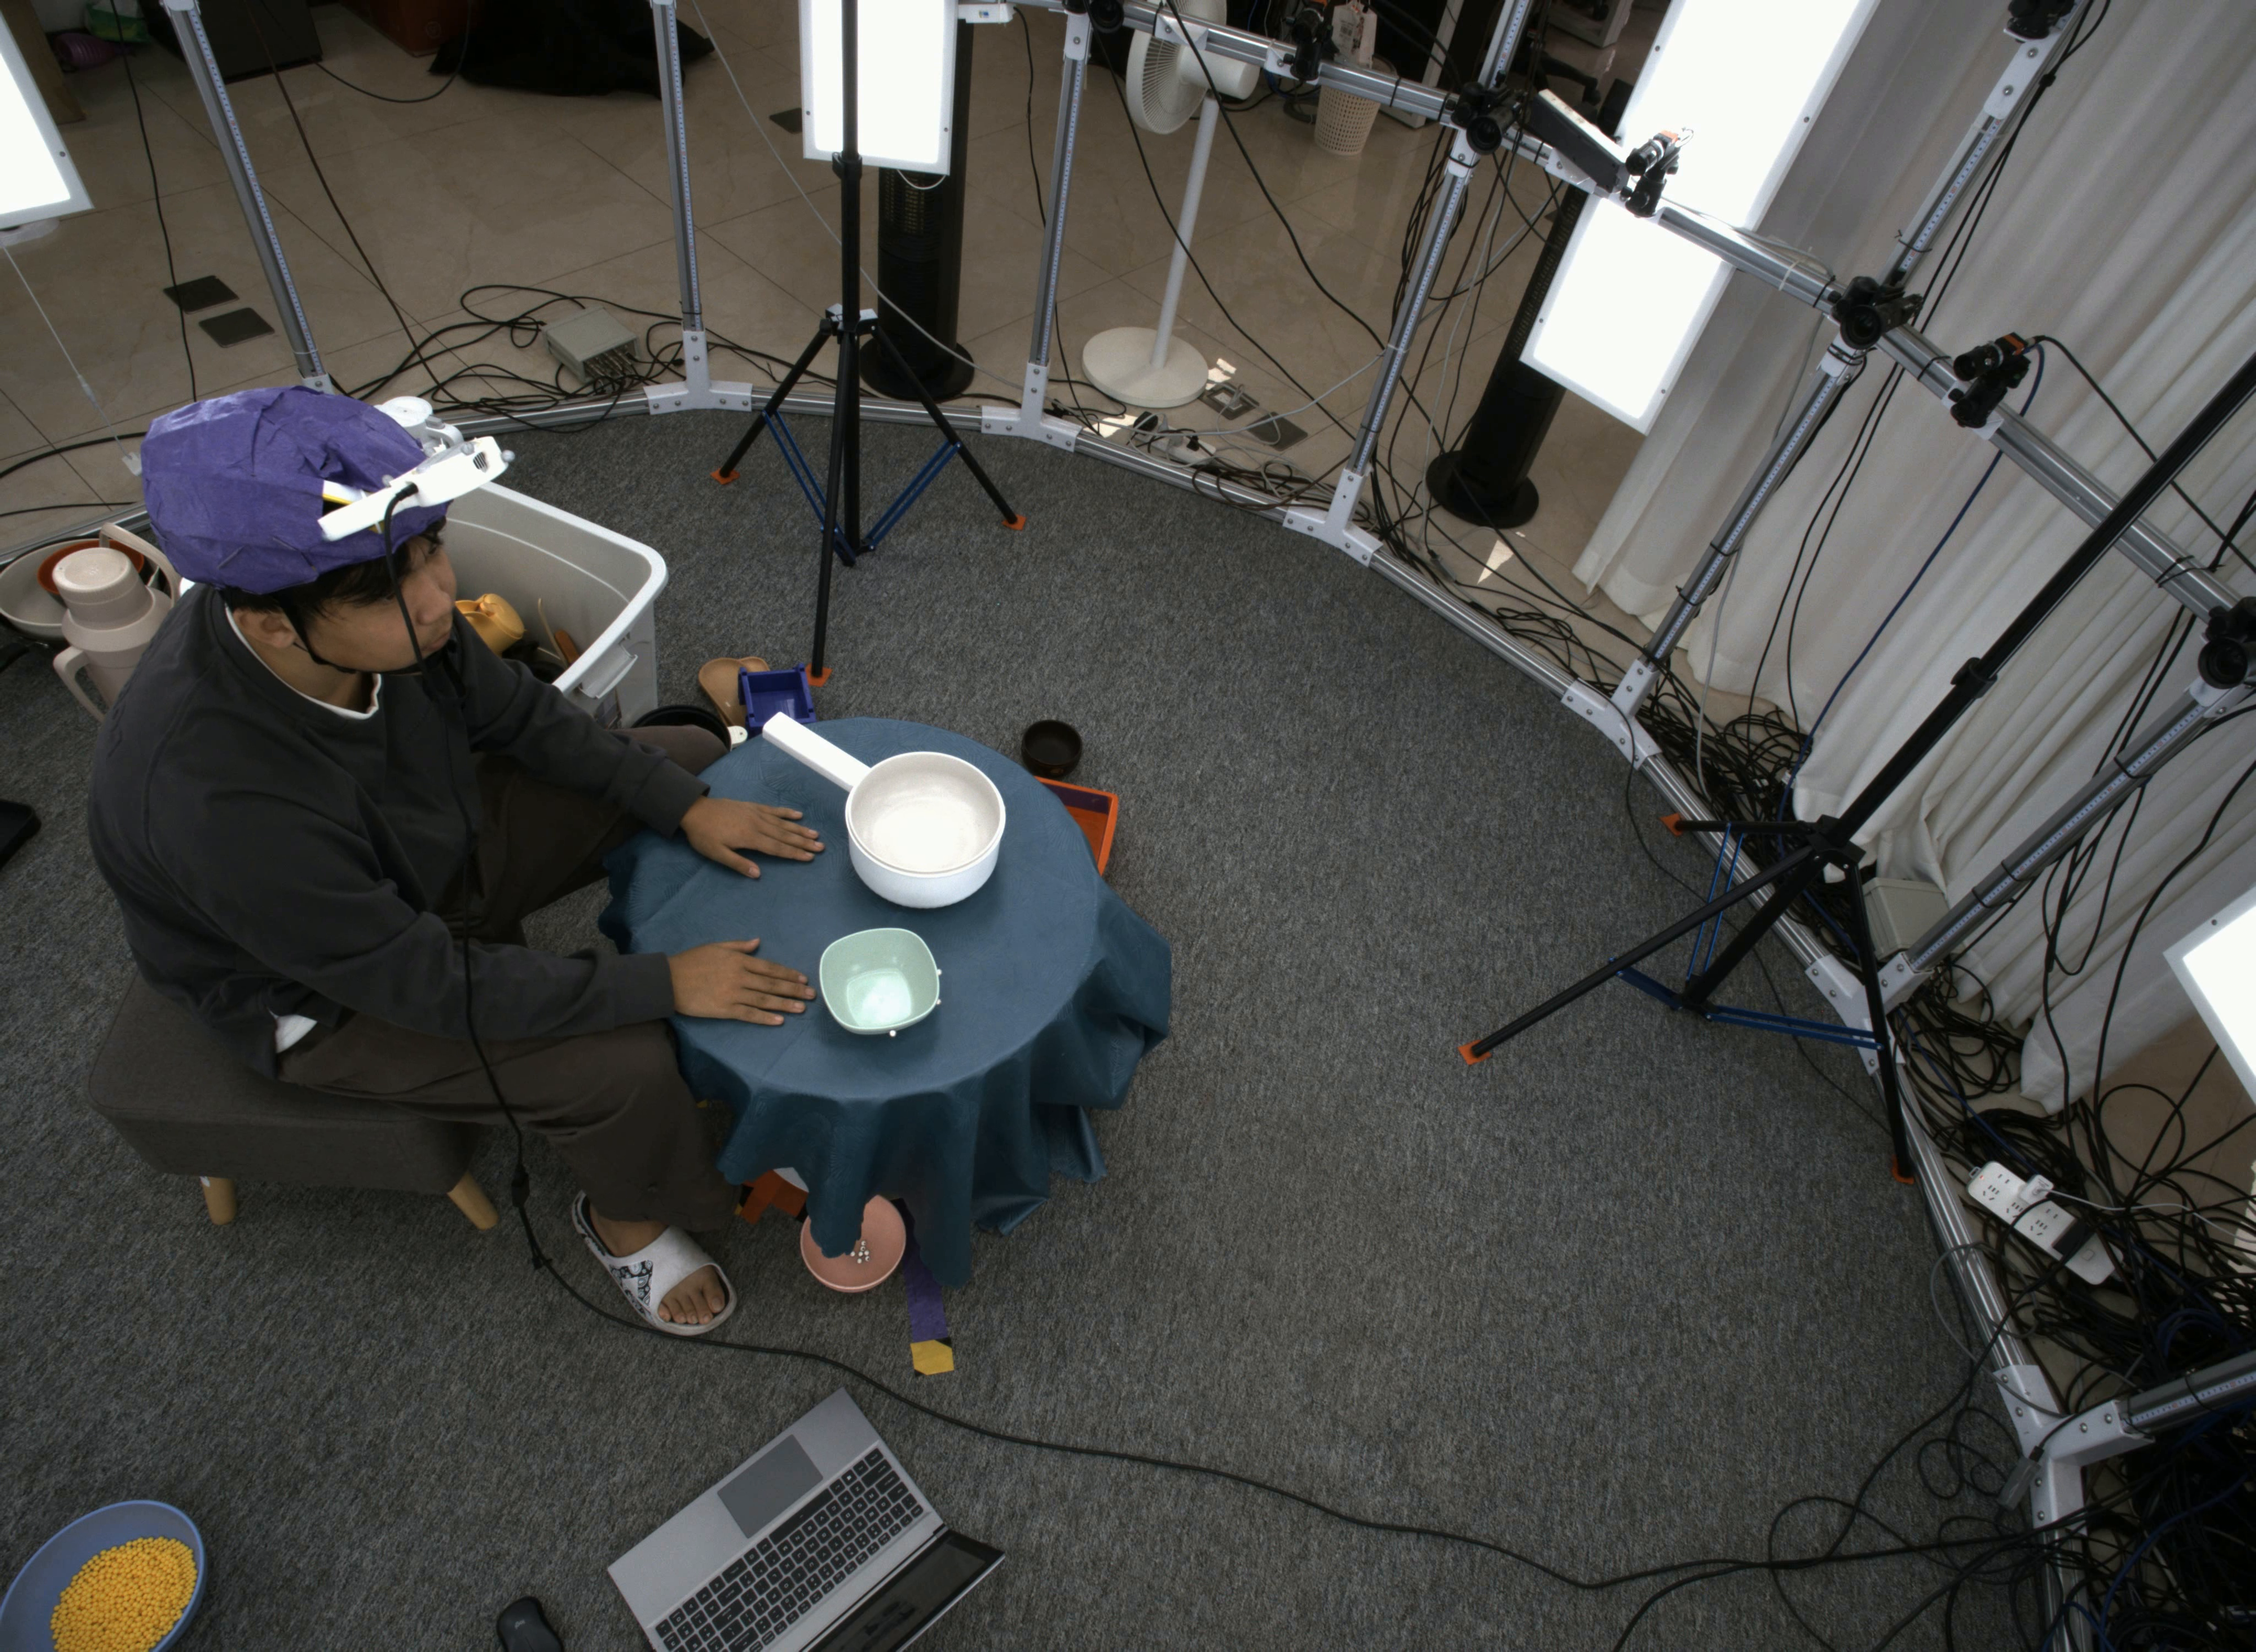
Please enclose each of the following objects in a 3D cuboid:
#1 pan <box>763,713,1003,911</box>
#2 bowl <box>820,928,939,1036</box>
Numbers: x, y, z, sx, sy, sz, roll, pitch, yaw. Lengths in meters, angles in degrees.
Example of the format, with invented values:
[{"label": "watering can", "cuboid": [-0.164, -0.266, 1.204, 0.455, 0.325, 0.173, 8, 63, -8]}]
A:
[{"label": "pan", "cuboid": [-0.328, -0.026, 1.705, 0.348, 0.104, 0.200, 30, 54, 11]}, {"label": "bowl", "cuboid": [-0.300, 0.196, 1.569, 0.151, 0.060, 0.149, 8, 52, -9]}]
